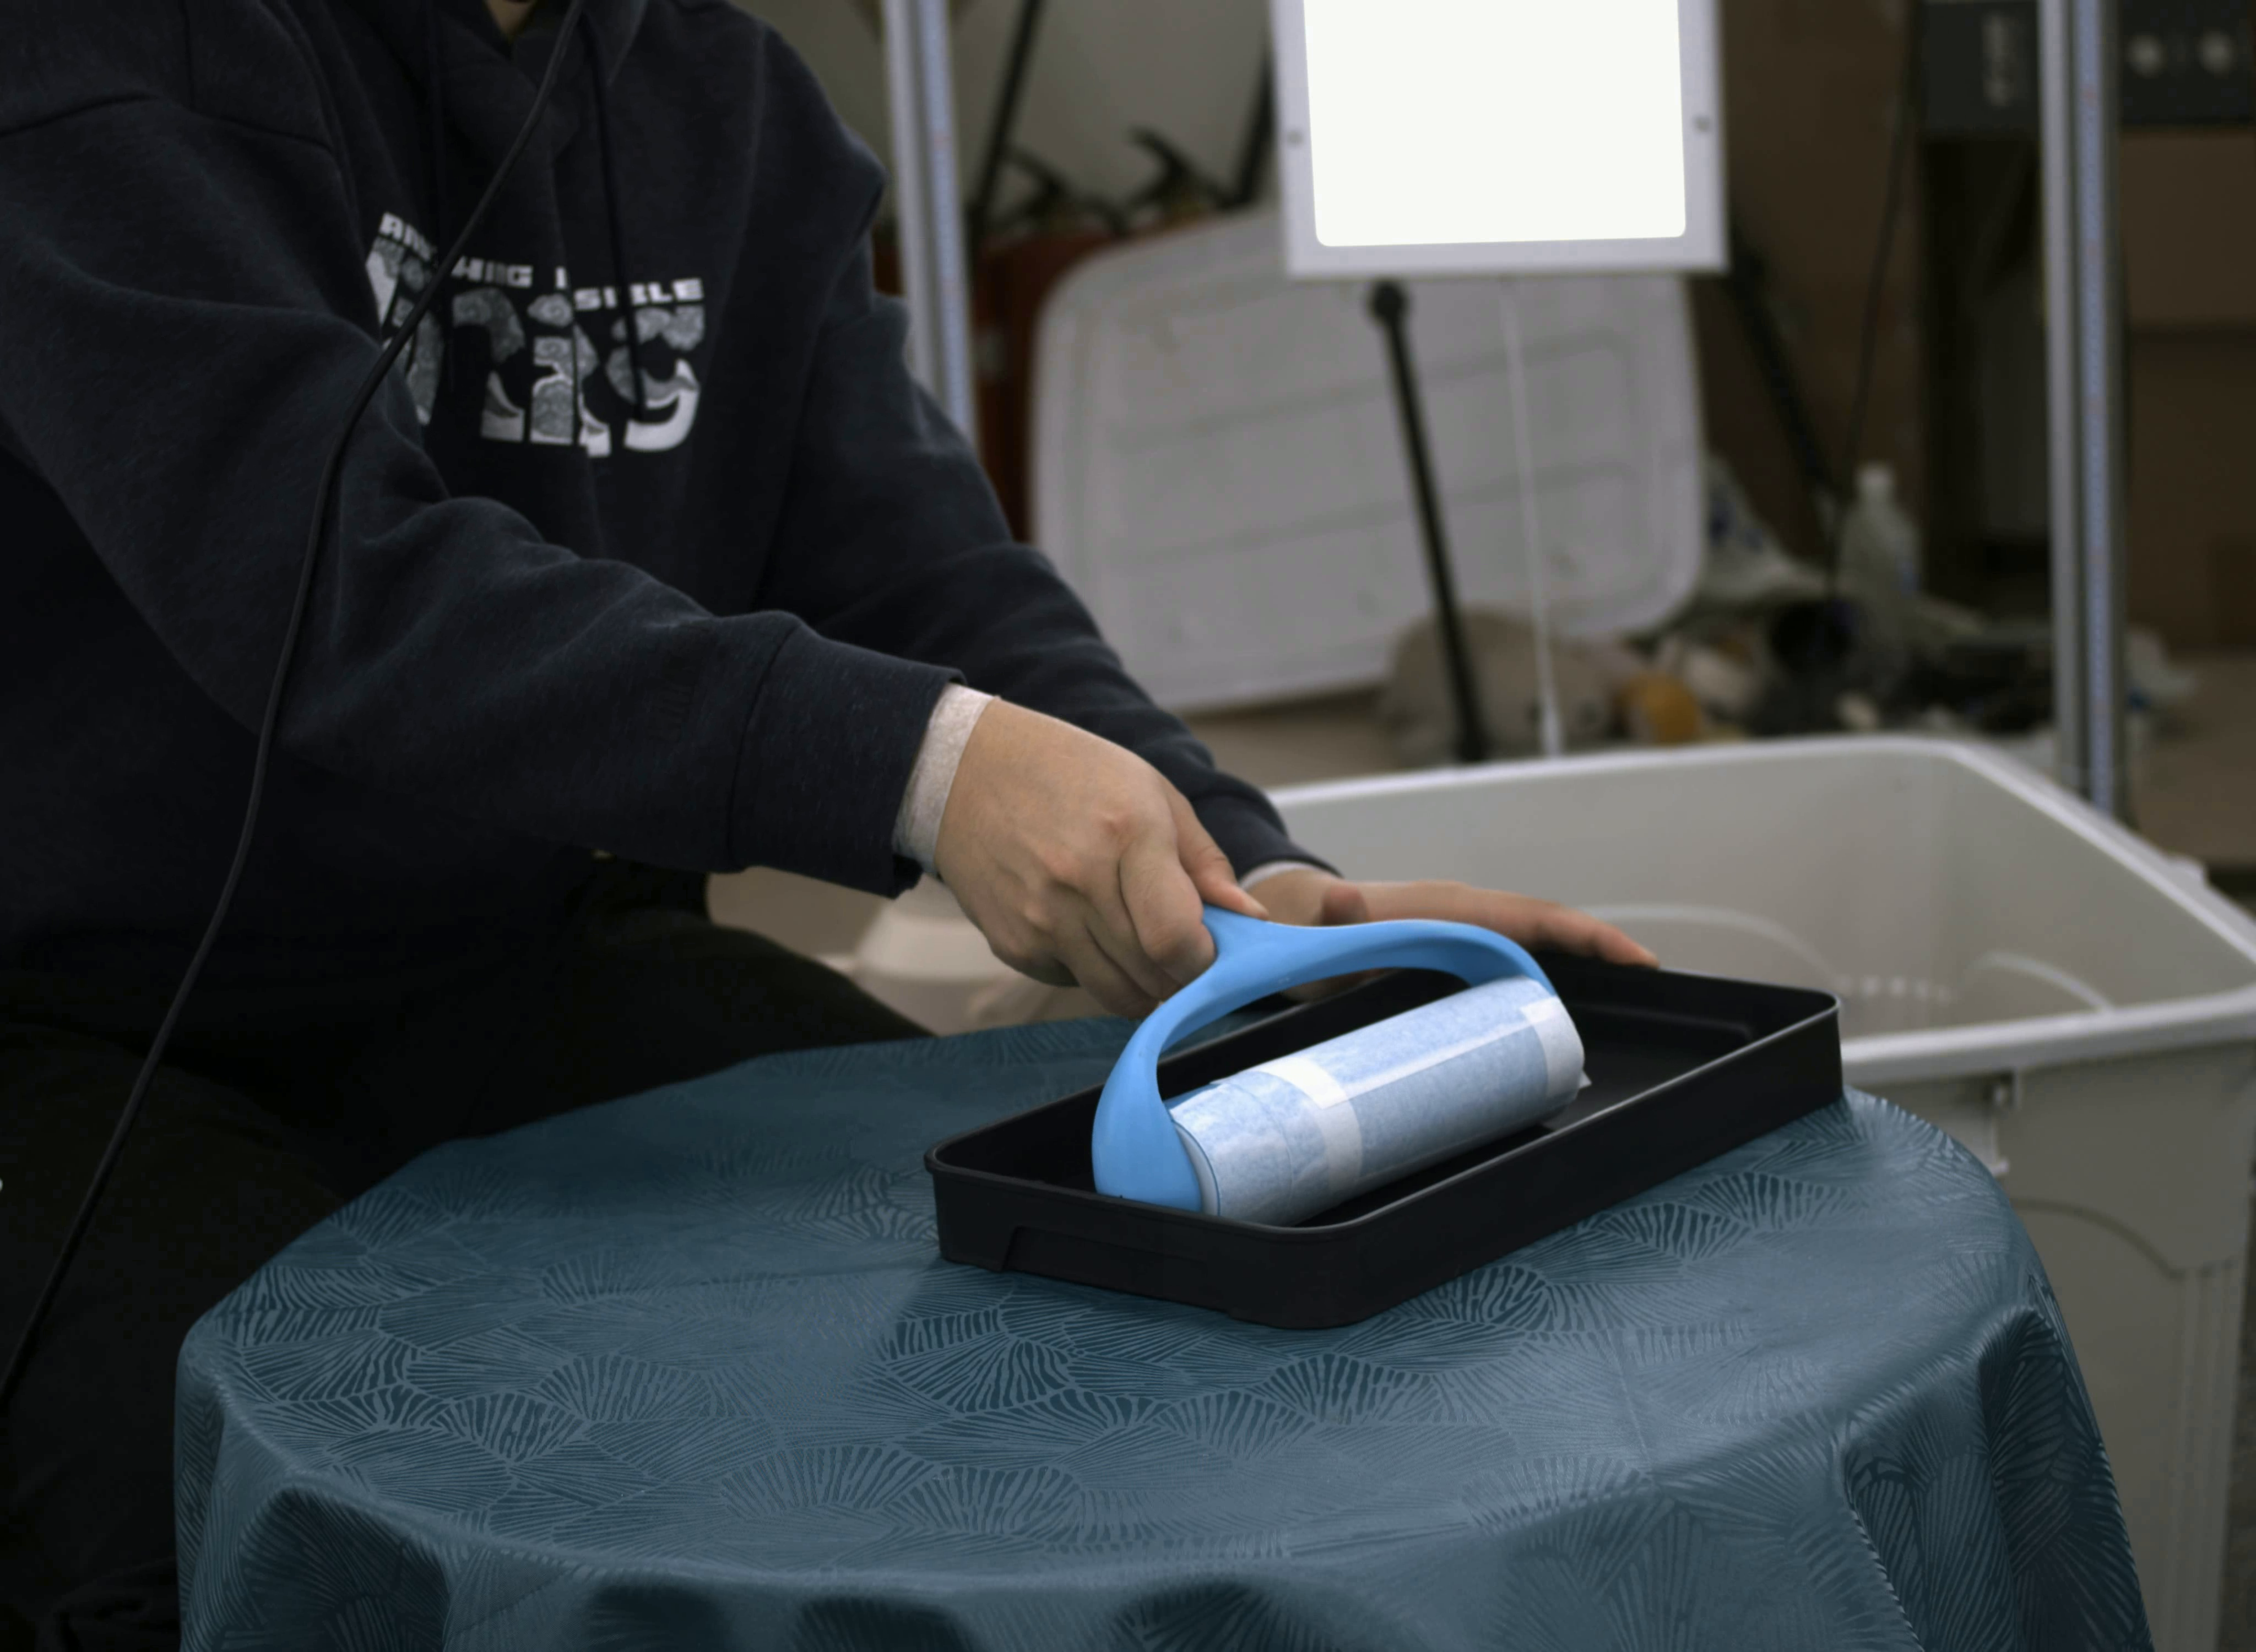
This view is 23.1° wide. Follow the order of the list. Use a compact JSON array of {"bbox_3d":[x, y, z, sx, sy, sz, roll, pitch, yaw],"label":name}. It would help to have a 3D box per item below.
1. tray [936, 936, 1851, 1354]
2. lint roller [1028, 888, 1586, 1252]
[{"bbox_3d":[0.098,0.104,1.897,0.188,0.037,0.310,6,20,41],"label":"tray"},{"bbox_3d":[0.035,0.063,1.884,0.182,0.069,0.223,40,39,27],"label":"lint roller"}]
